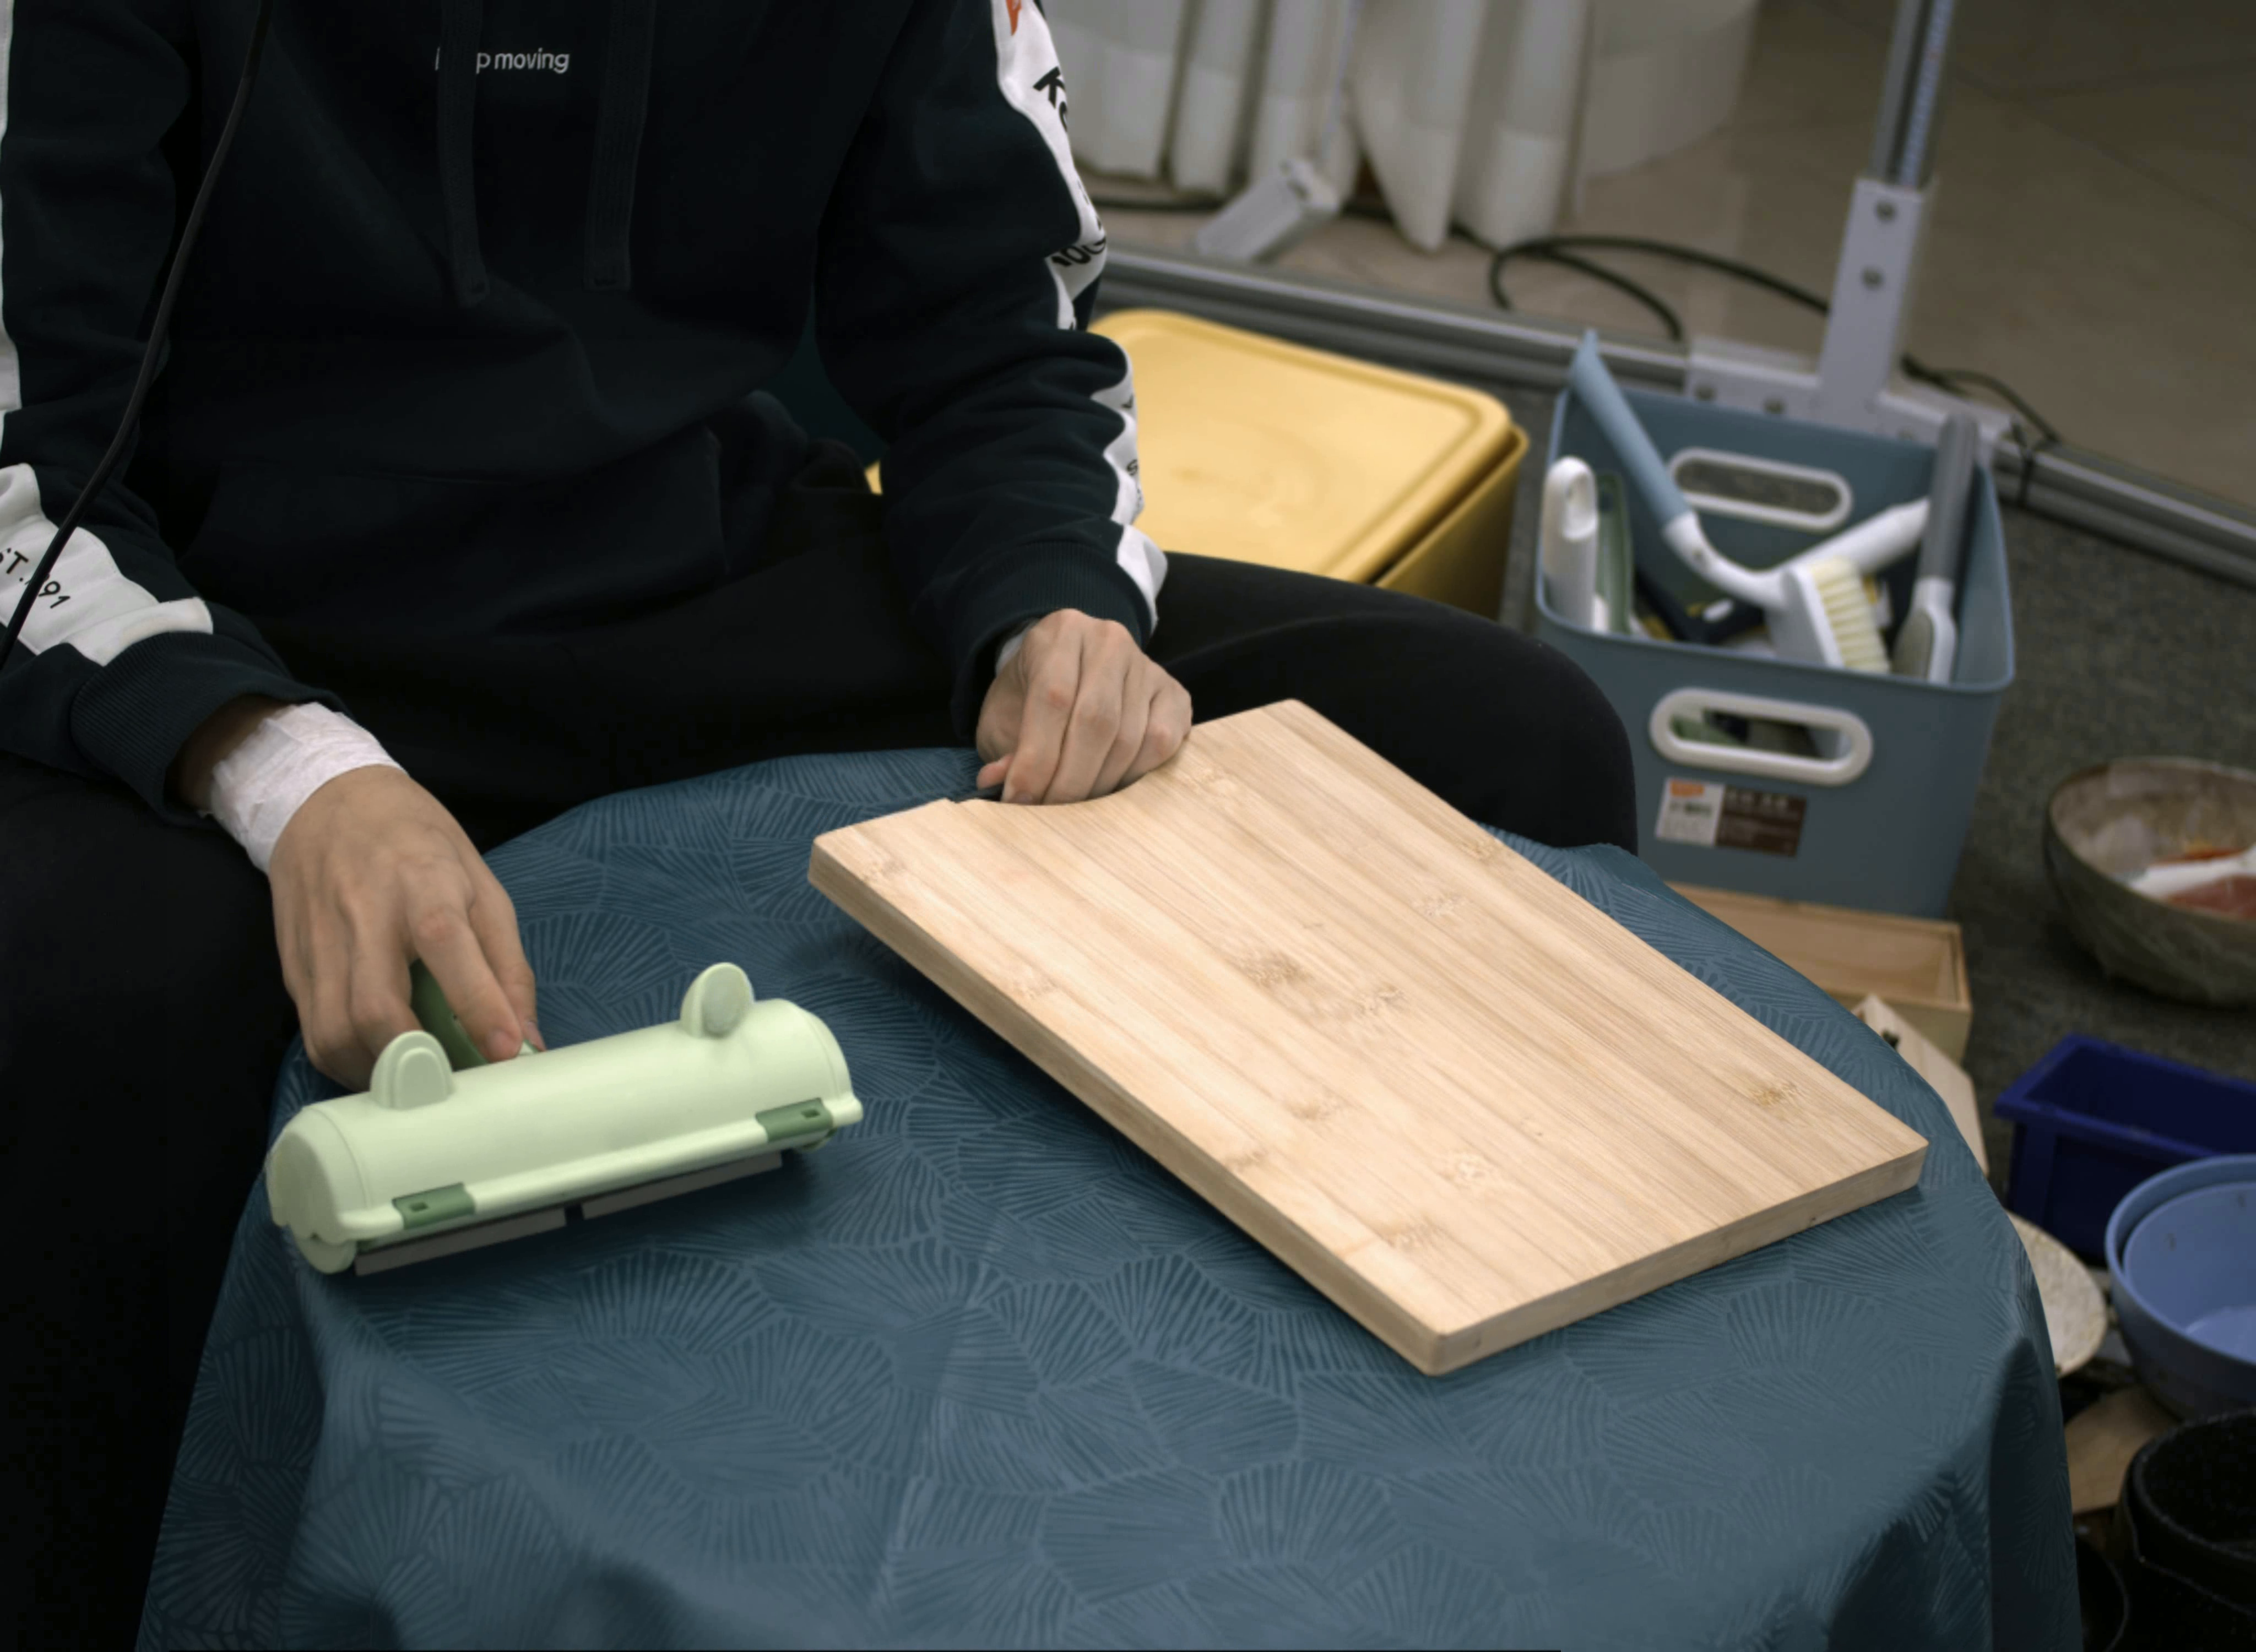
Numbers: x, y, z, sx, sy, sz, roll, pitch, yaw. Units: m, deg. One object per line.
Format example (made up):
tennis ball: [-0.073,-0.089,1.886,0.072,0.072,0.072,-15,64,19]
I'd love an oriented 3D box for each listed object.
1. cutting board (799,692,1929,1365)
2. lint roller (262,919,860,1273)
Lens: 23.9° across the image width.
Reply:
cutting board: [0.079,0.063,1.890,0.249,0.023,0.351,-16,39,-38]
lint roller: [-0.213,0.064,1.771,0.197,0.082,0.185,-12,41,-33]
